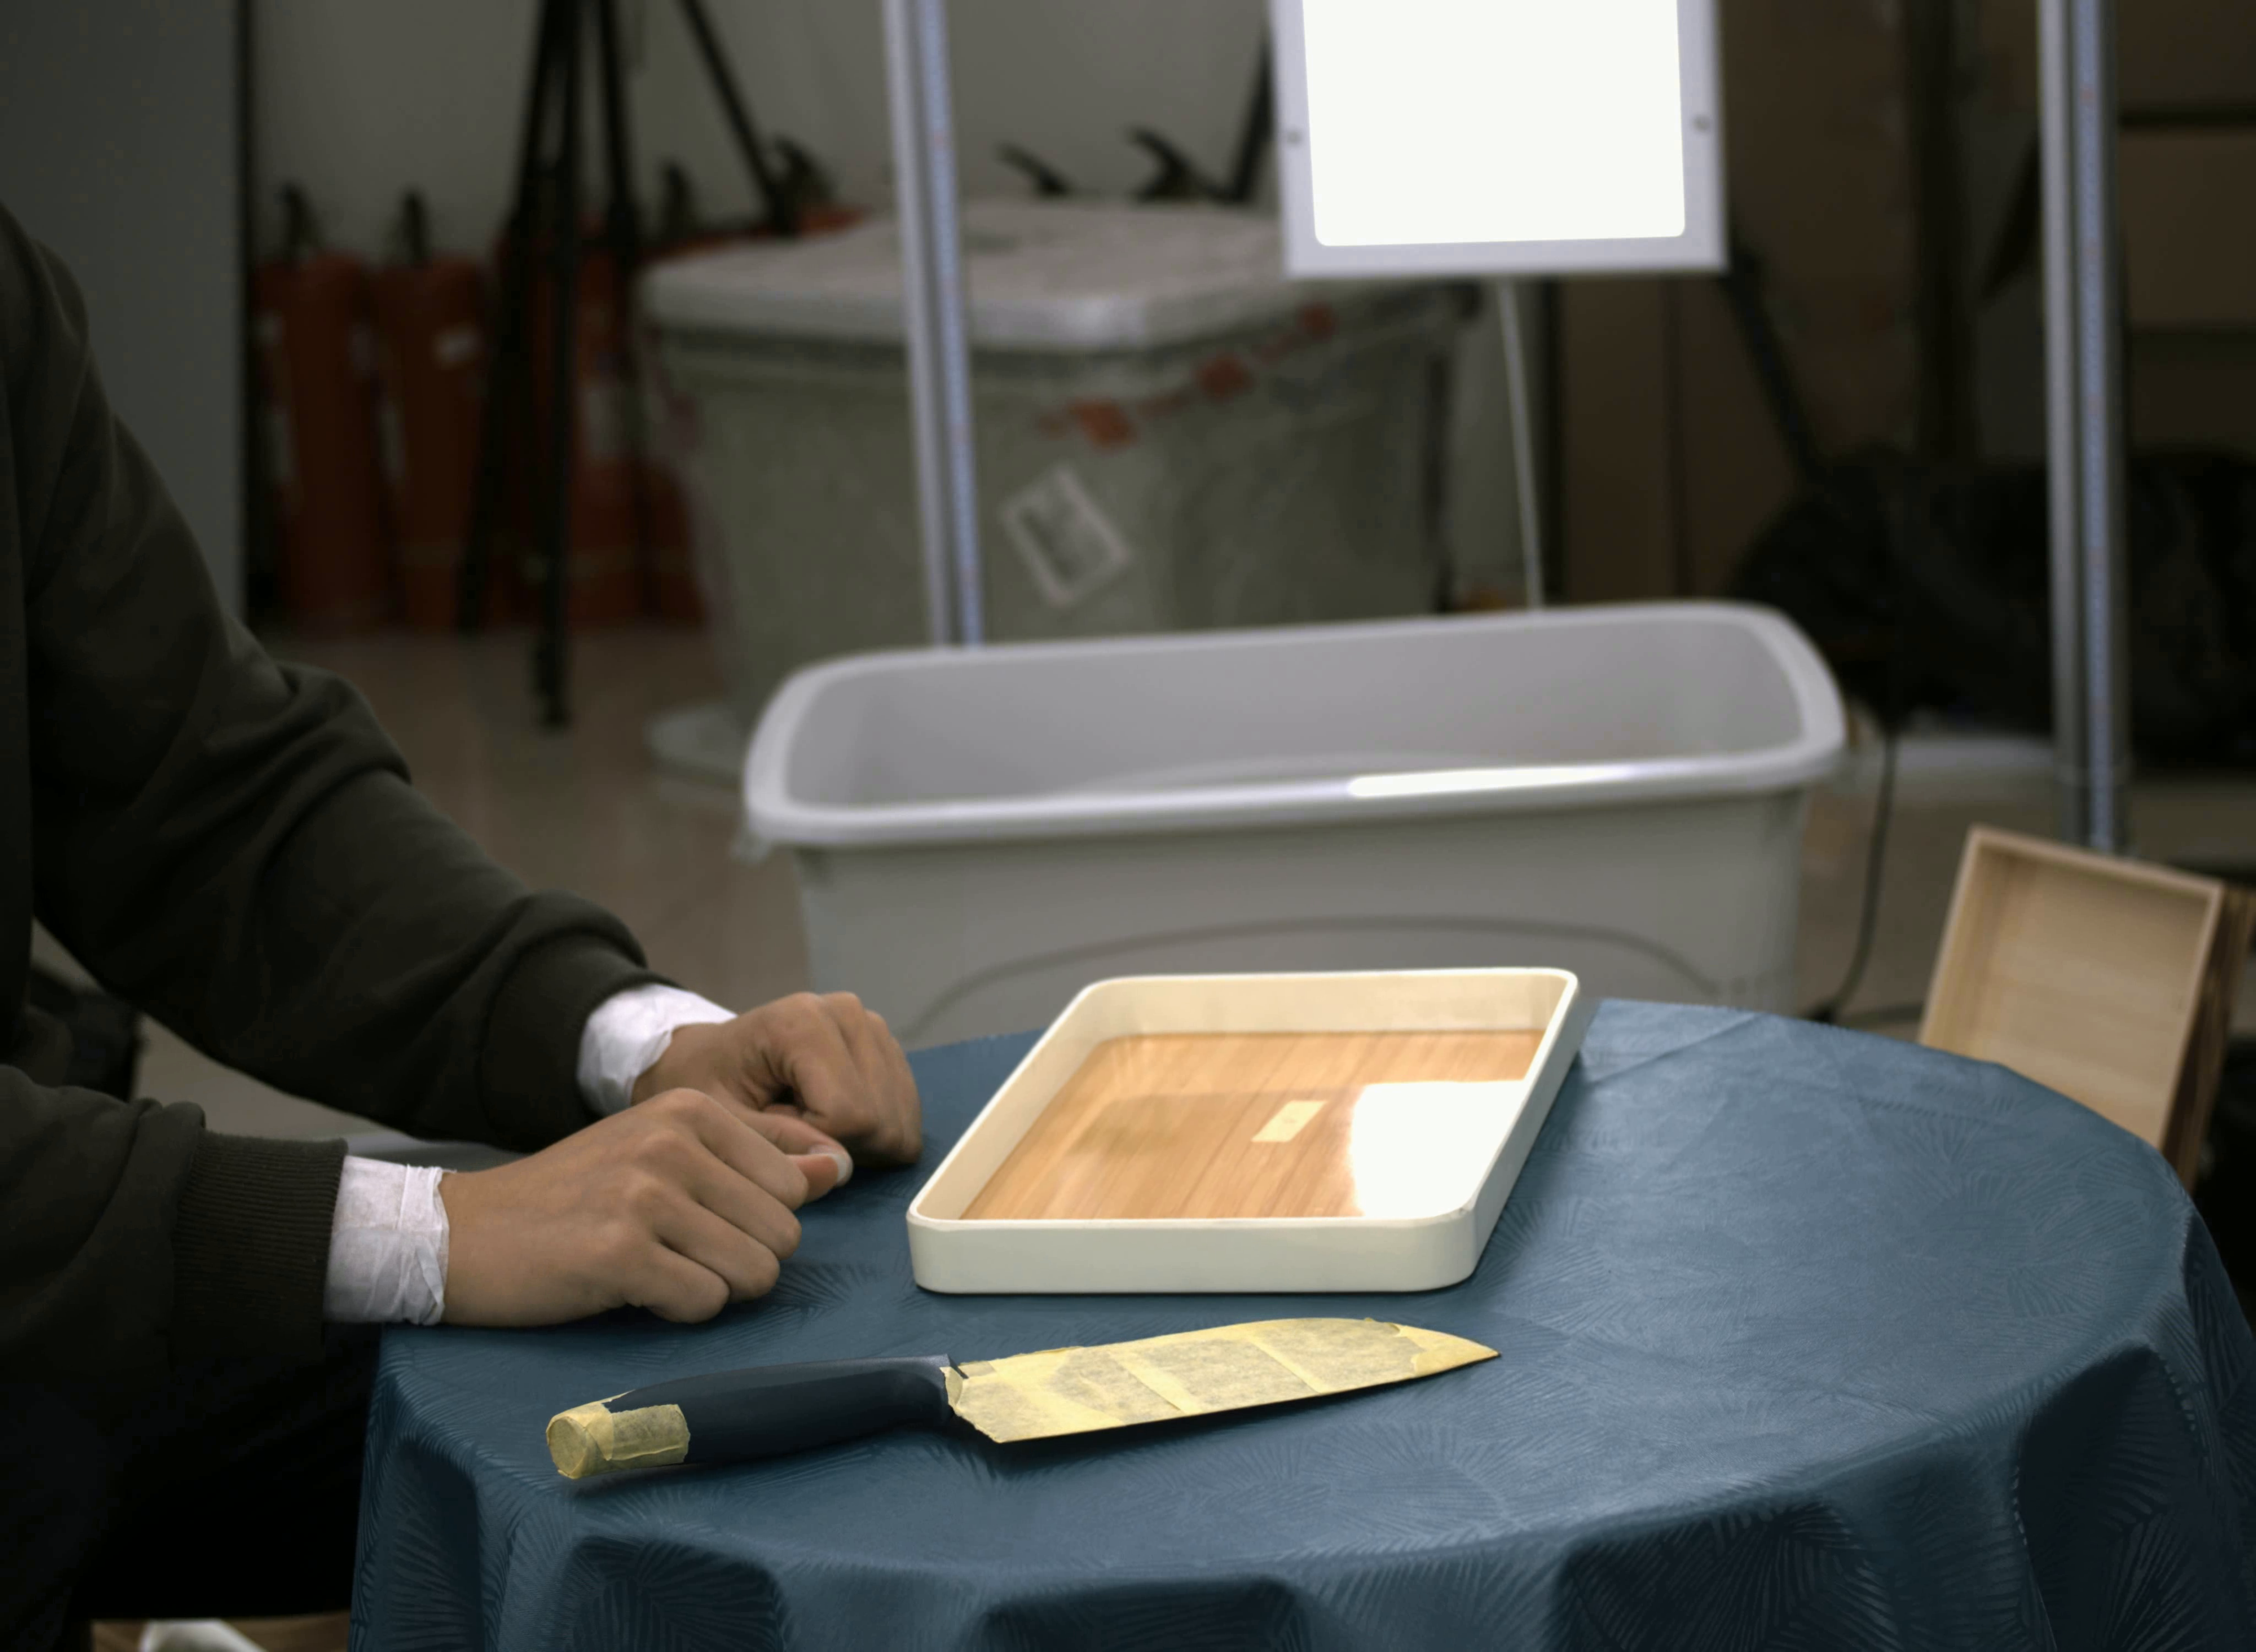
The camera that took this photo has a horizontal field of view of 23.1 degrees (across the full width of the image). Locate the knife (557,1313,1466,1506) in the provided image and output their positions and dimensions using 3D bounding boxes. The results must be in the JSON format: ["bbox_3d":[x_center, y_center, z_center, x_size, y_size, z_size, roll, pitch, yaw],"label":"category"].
[{"bbox_3d":[-0.031,0.176,1.681,0.285,0.027,0.082,-8,12,-15],"label":"knife"}]

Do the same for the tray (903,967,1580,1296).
[{"bbox_3d":[0.047,0.104,1.924,0.193,0.027,0.296,-3,13,15],"label":"tray"}]
